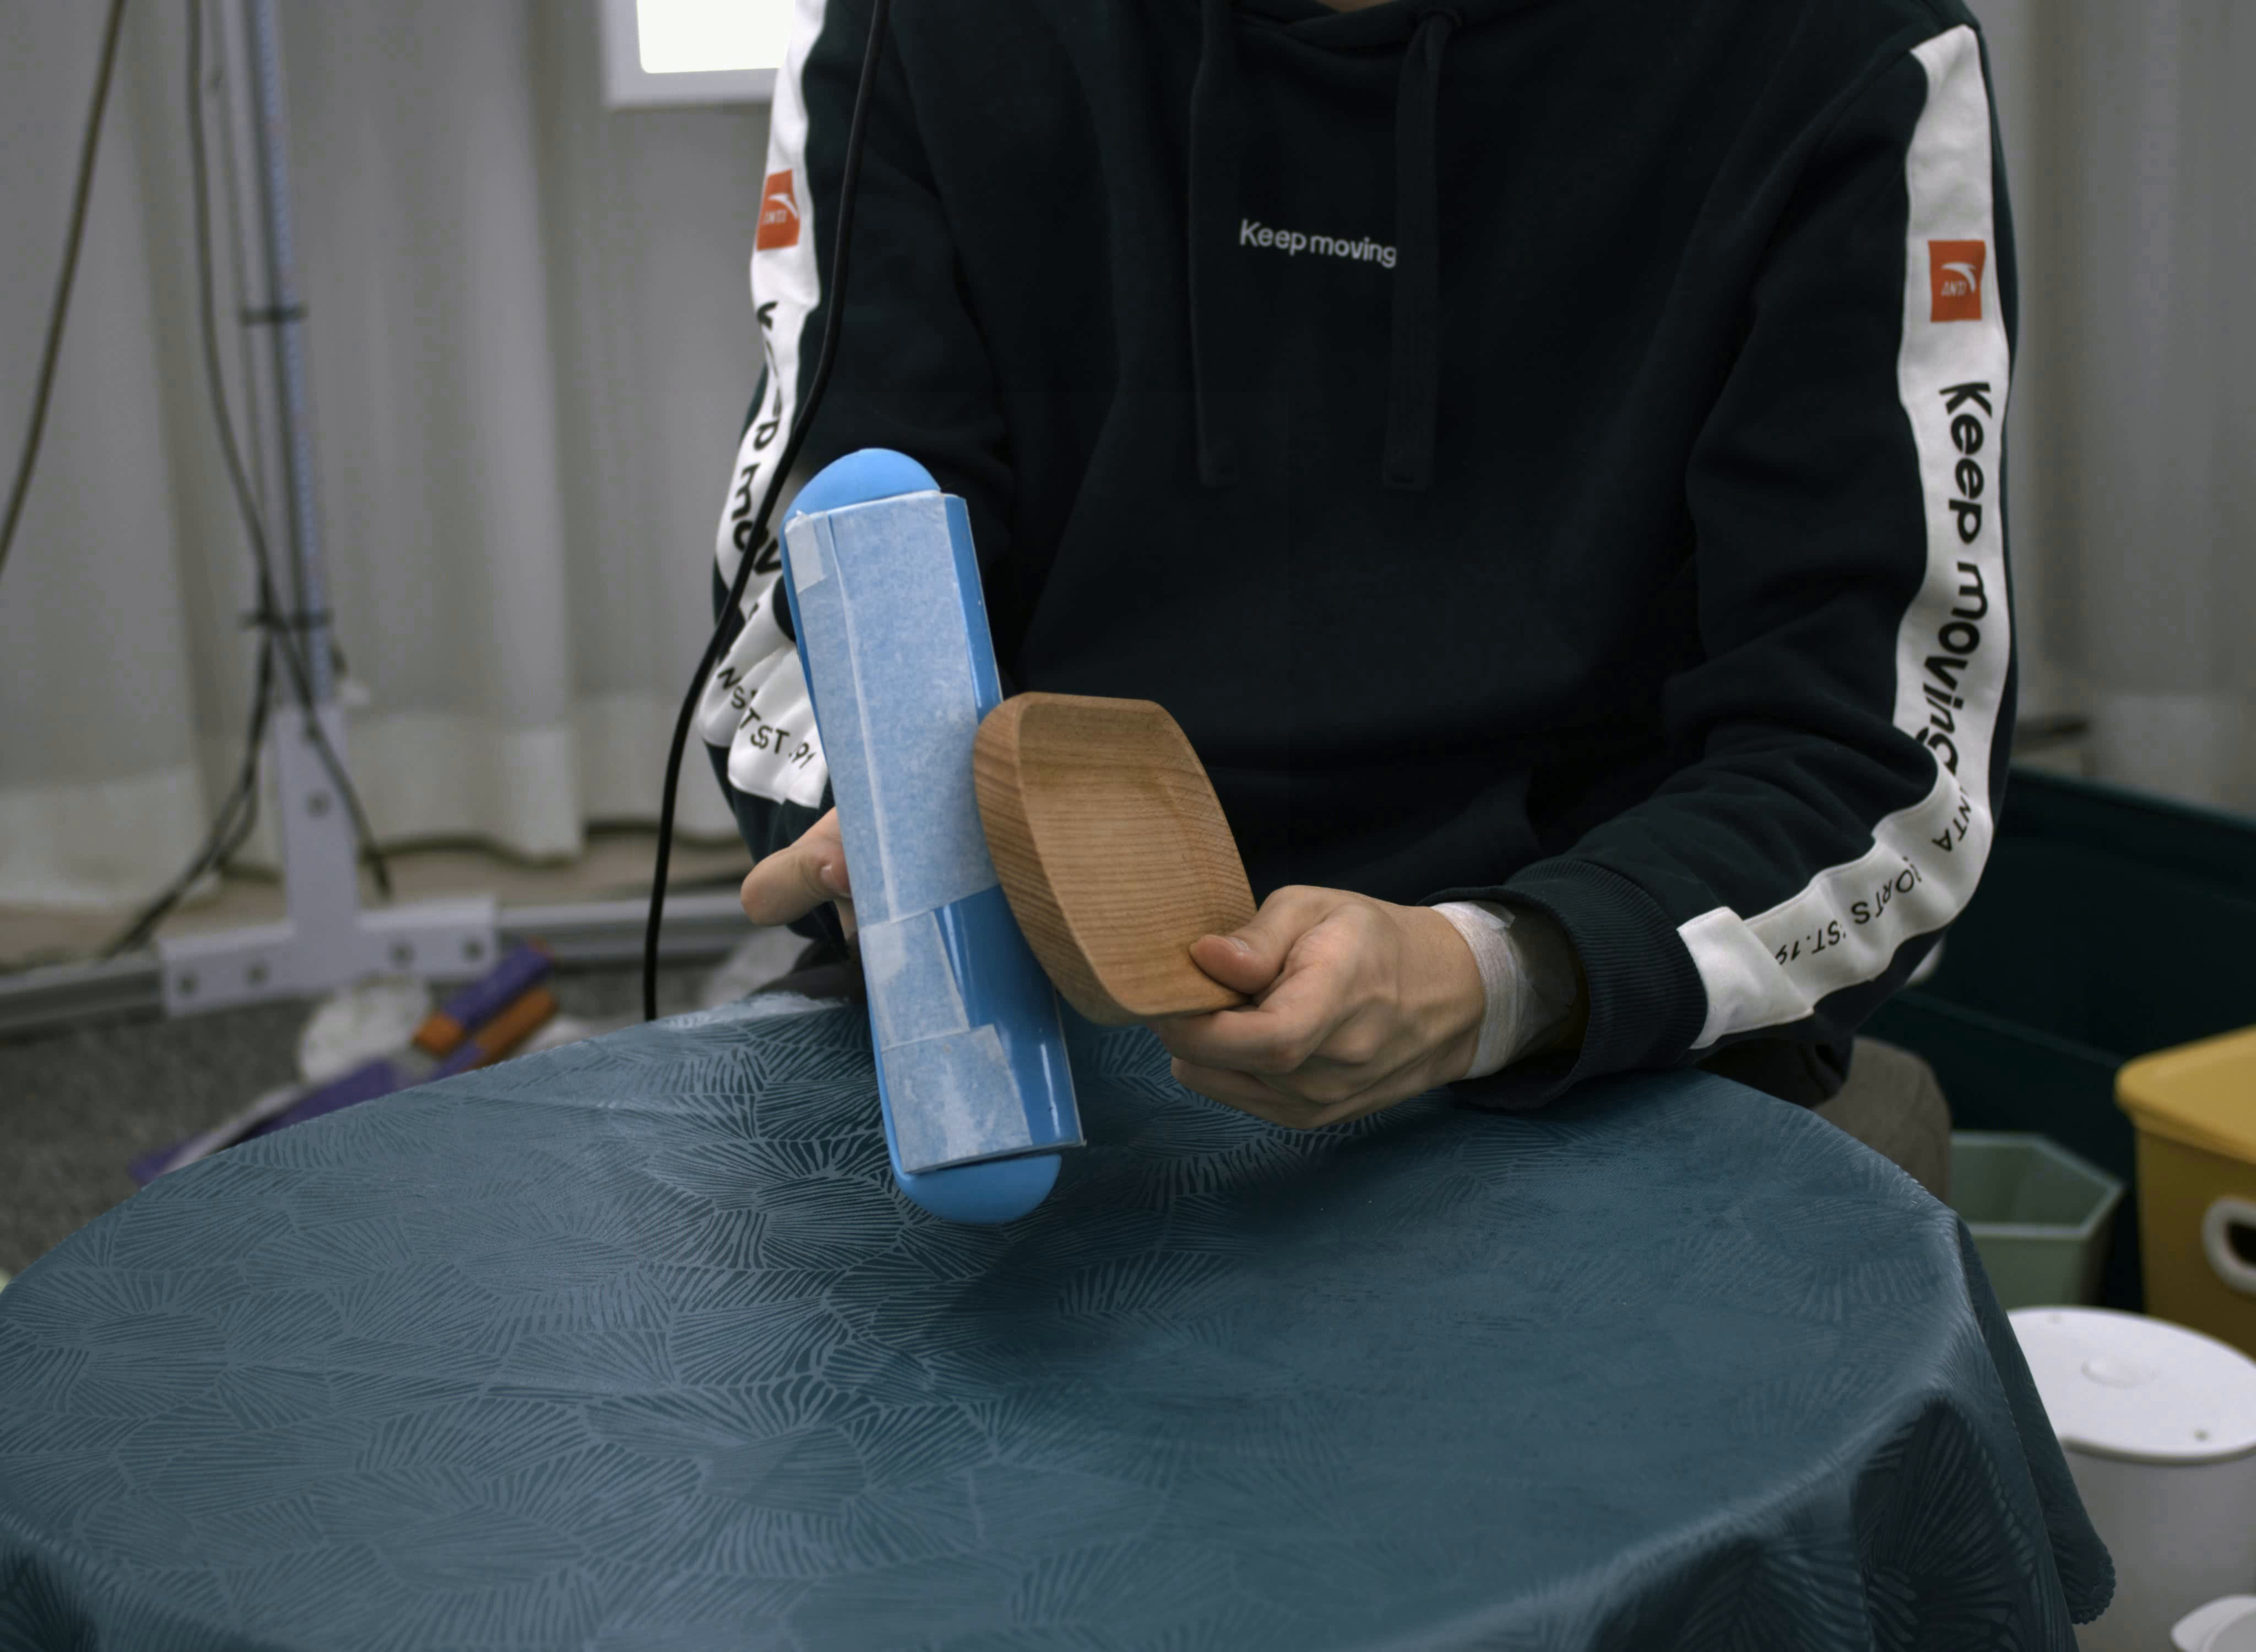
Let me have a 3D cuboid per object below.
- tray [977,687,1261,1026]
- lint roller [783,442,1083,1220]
[{"bbox_3d":[-0.001,0.009,1.636,0.020,0.102,0.230,-19,-4,13],"label":"tray"},{"bbox_3d":[-0.051,0.008,1.649,0.068,0.230,0.179,-12,-9,5],"label":"lint roller"}]
